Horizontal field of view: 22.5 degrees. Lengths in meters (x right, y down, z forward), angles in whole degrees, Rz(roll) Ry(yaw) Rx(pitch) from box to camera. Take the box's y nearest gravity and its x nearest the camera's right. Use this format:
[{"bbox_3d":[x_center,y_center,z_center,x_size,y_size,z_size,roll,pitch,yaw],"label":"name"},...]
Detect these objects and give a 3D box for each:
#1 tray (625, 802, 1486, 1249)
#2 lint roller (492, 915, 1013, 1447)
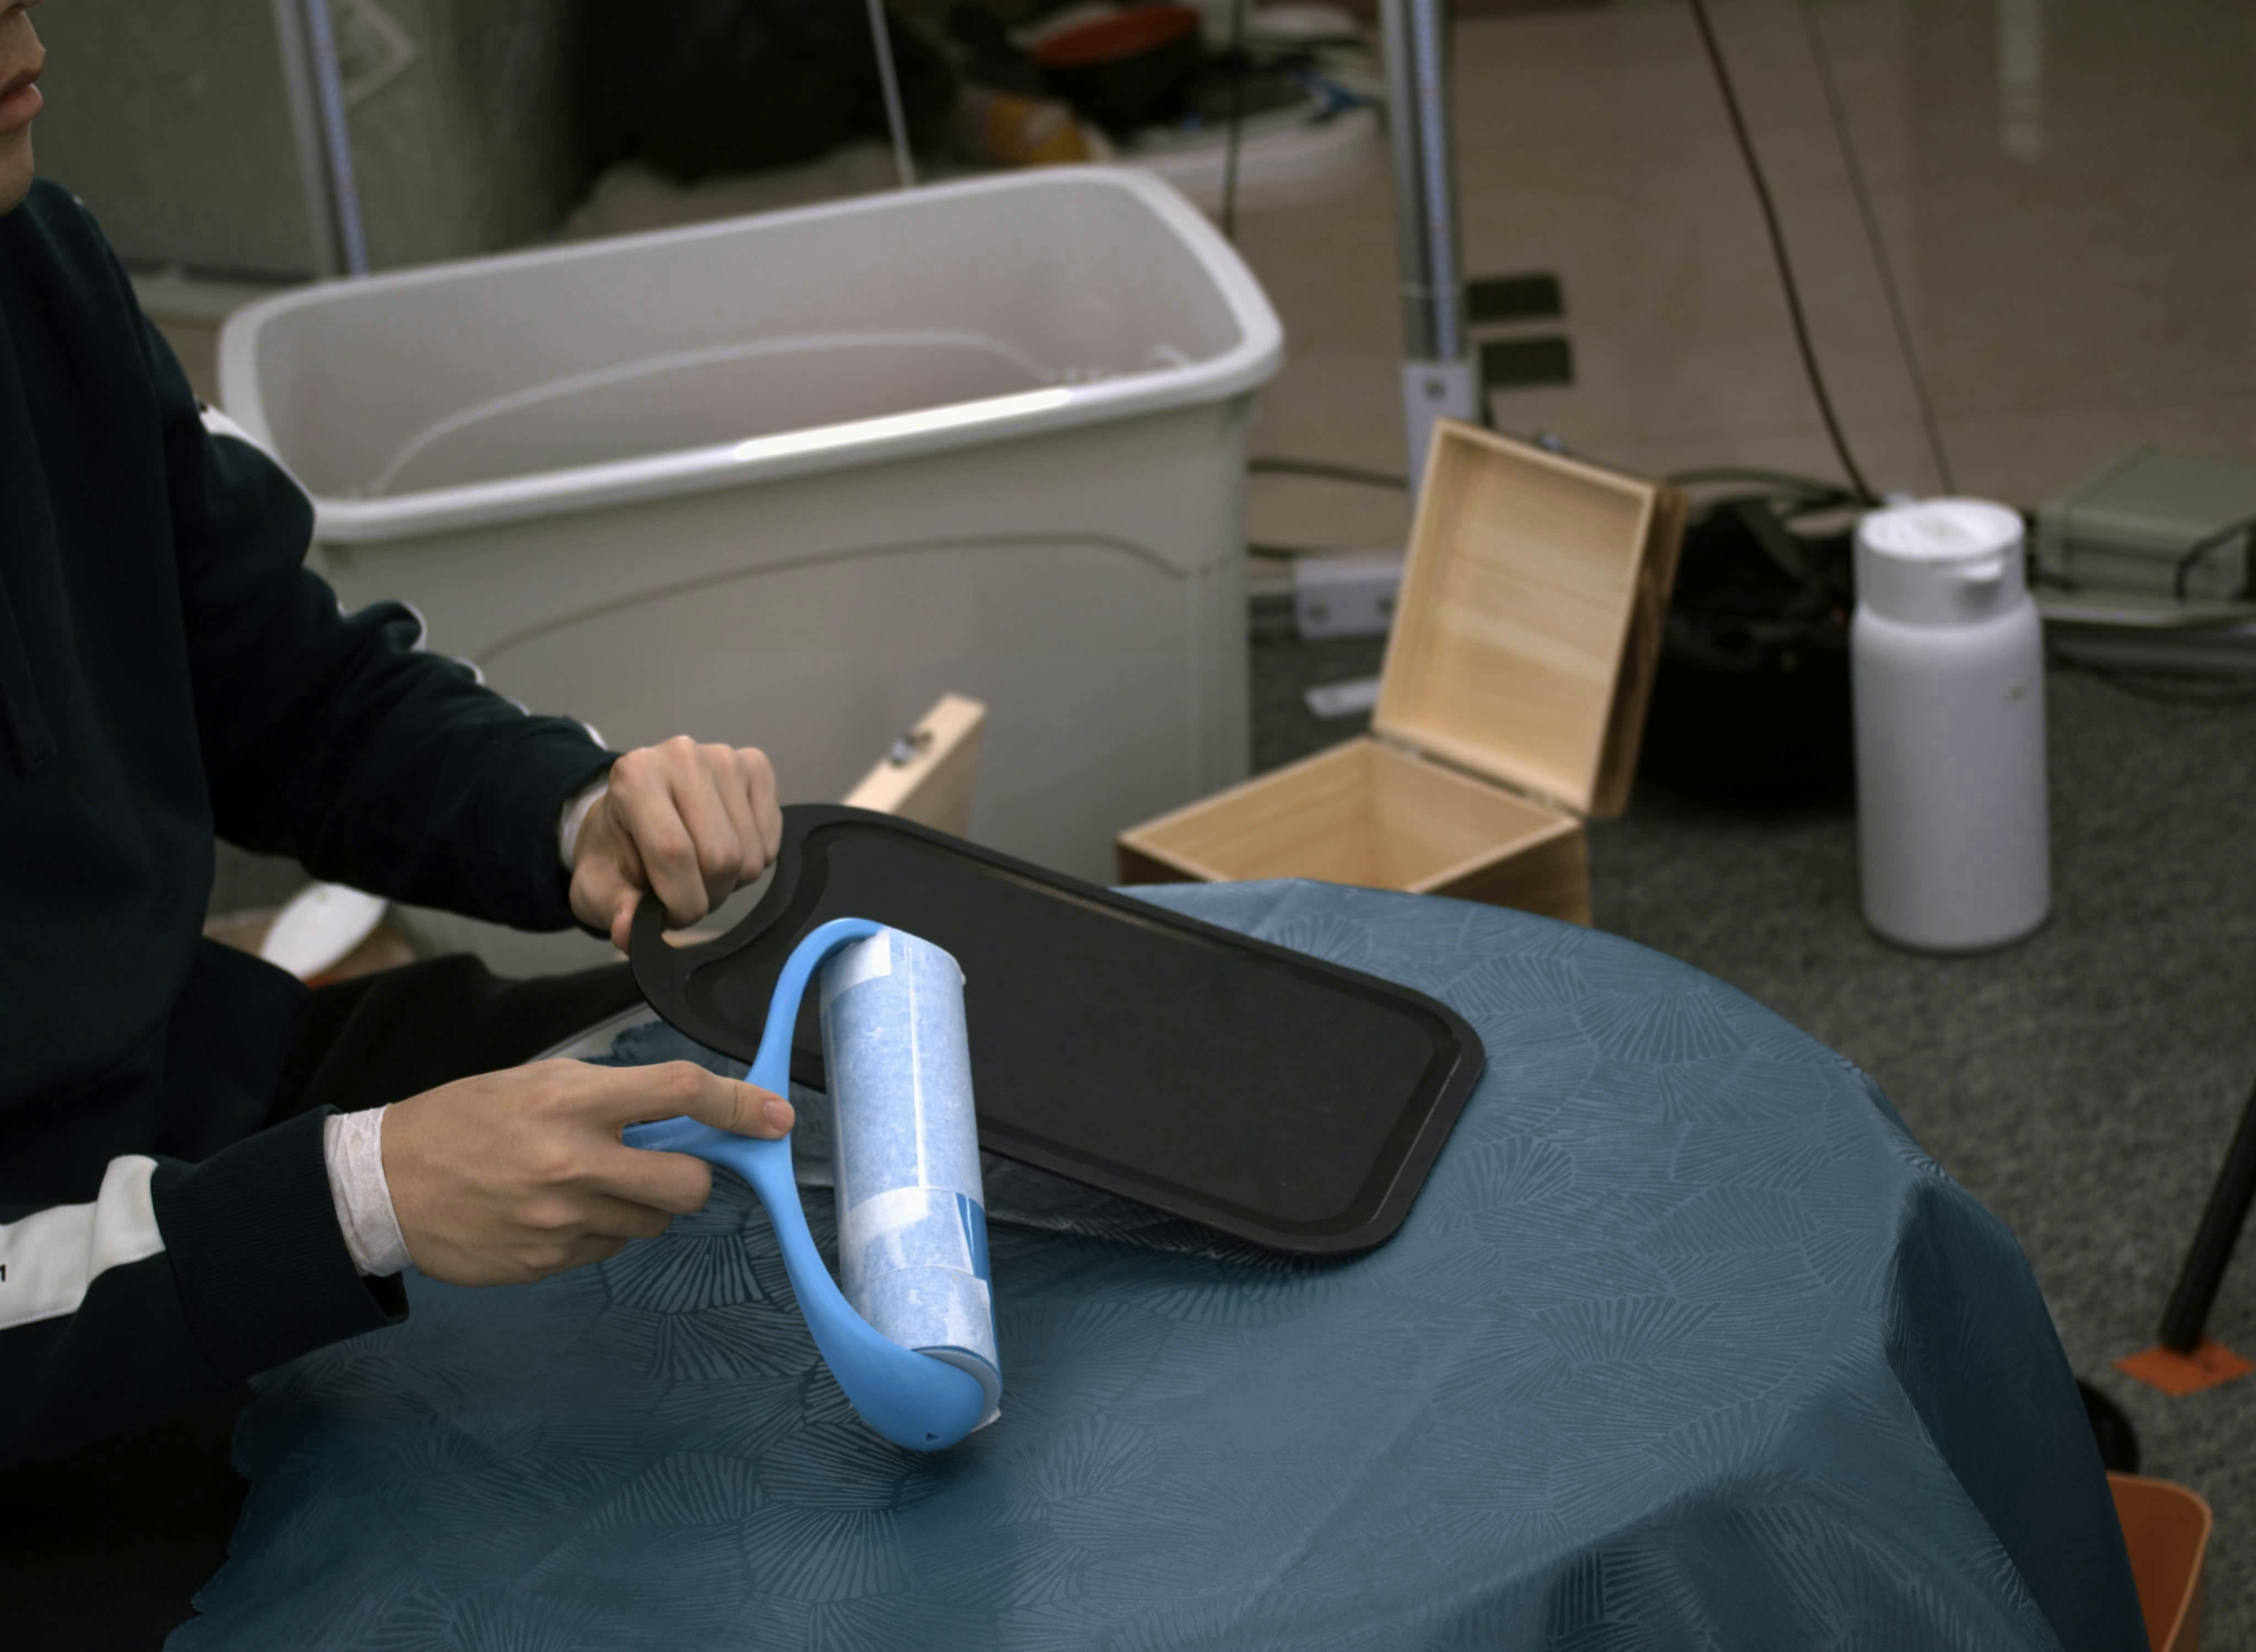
[{"bbox_3d":[-0.032,0.070,2.173,0.324,0.010,0.208,19,30,10],"label":"tray"},{"bbox_3d":[-0.136,0.128,2.024,0.180,0.069,0.225,-2,50,-11],"label":"lint roller"}]
